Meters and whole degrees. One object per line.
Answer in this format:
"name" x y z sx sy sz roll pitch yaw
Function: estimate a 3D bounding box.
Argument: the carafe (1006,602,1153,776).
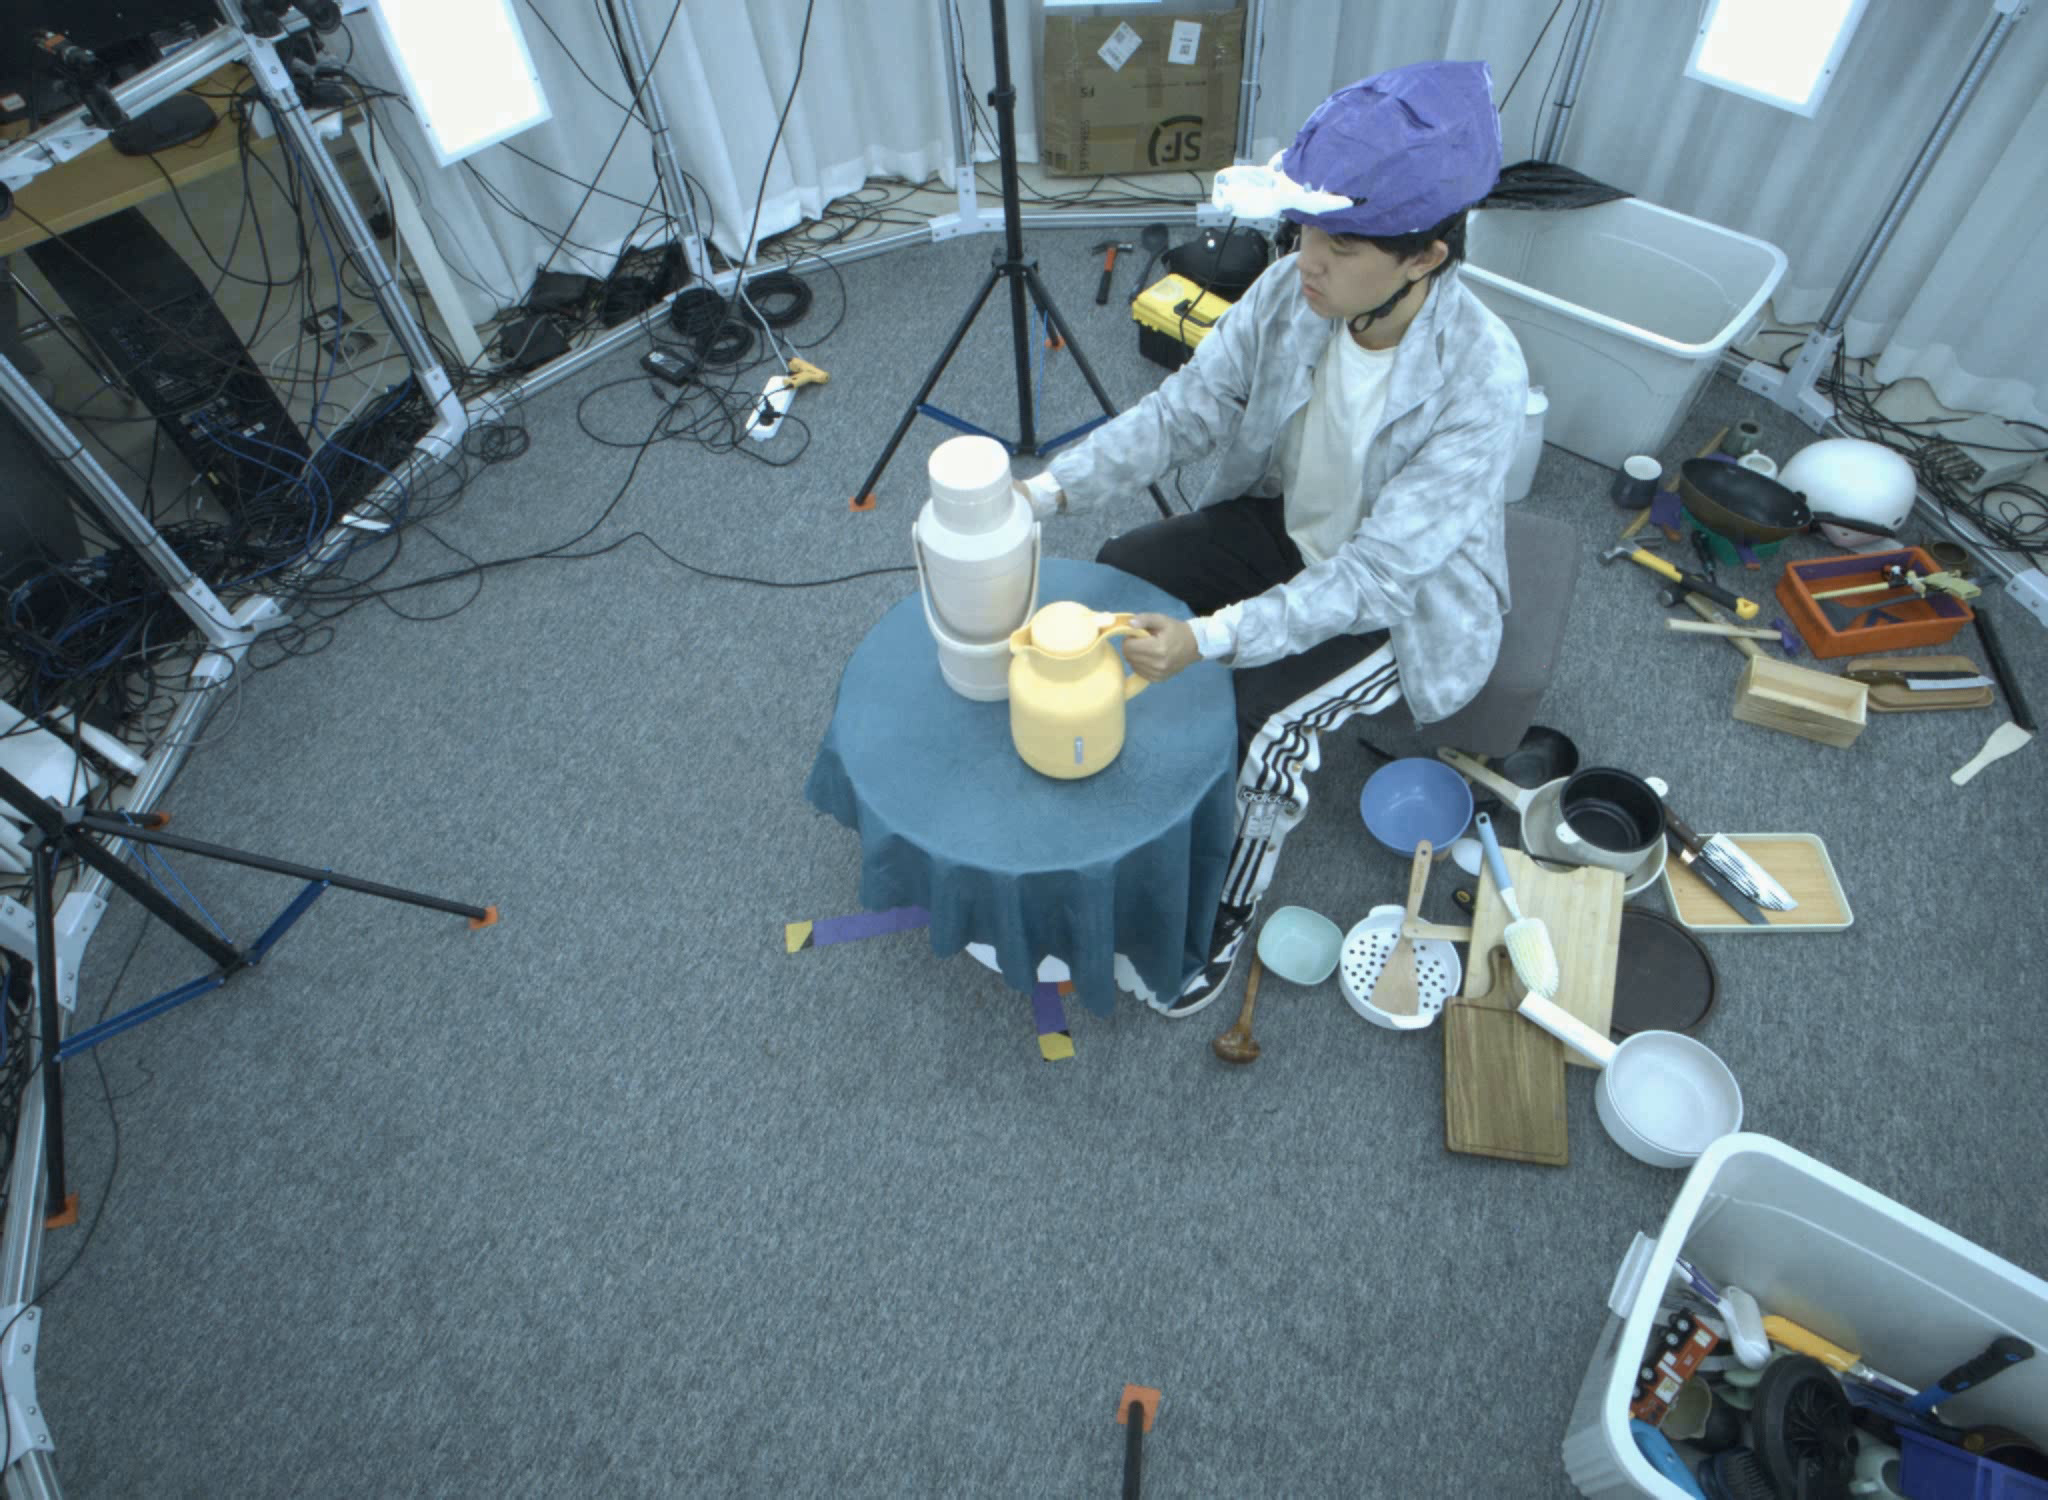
"carafe" 0.077 -0.092 1.691 0.203 0.263 0.161 -11 57 -3

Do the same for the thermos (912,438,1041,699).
"thermos" -0.059 -0.265 1.734 0.175 0.411 0.205 0 55 5
